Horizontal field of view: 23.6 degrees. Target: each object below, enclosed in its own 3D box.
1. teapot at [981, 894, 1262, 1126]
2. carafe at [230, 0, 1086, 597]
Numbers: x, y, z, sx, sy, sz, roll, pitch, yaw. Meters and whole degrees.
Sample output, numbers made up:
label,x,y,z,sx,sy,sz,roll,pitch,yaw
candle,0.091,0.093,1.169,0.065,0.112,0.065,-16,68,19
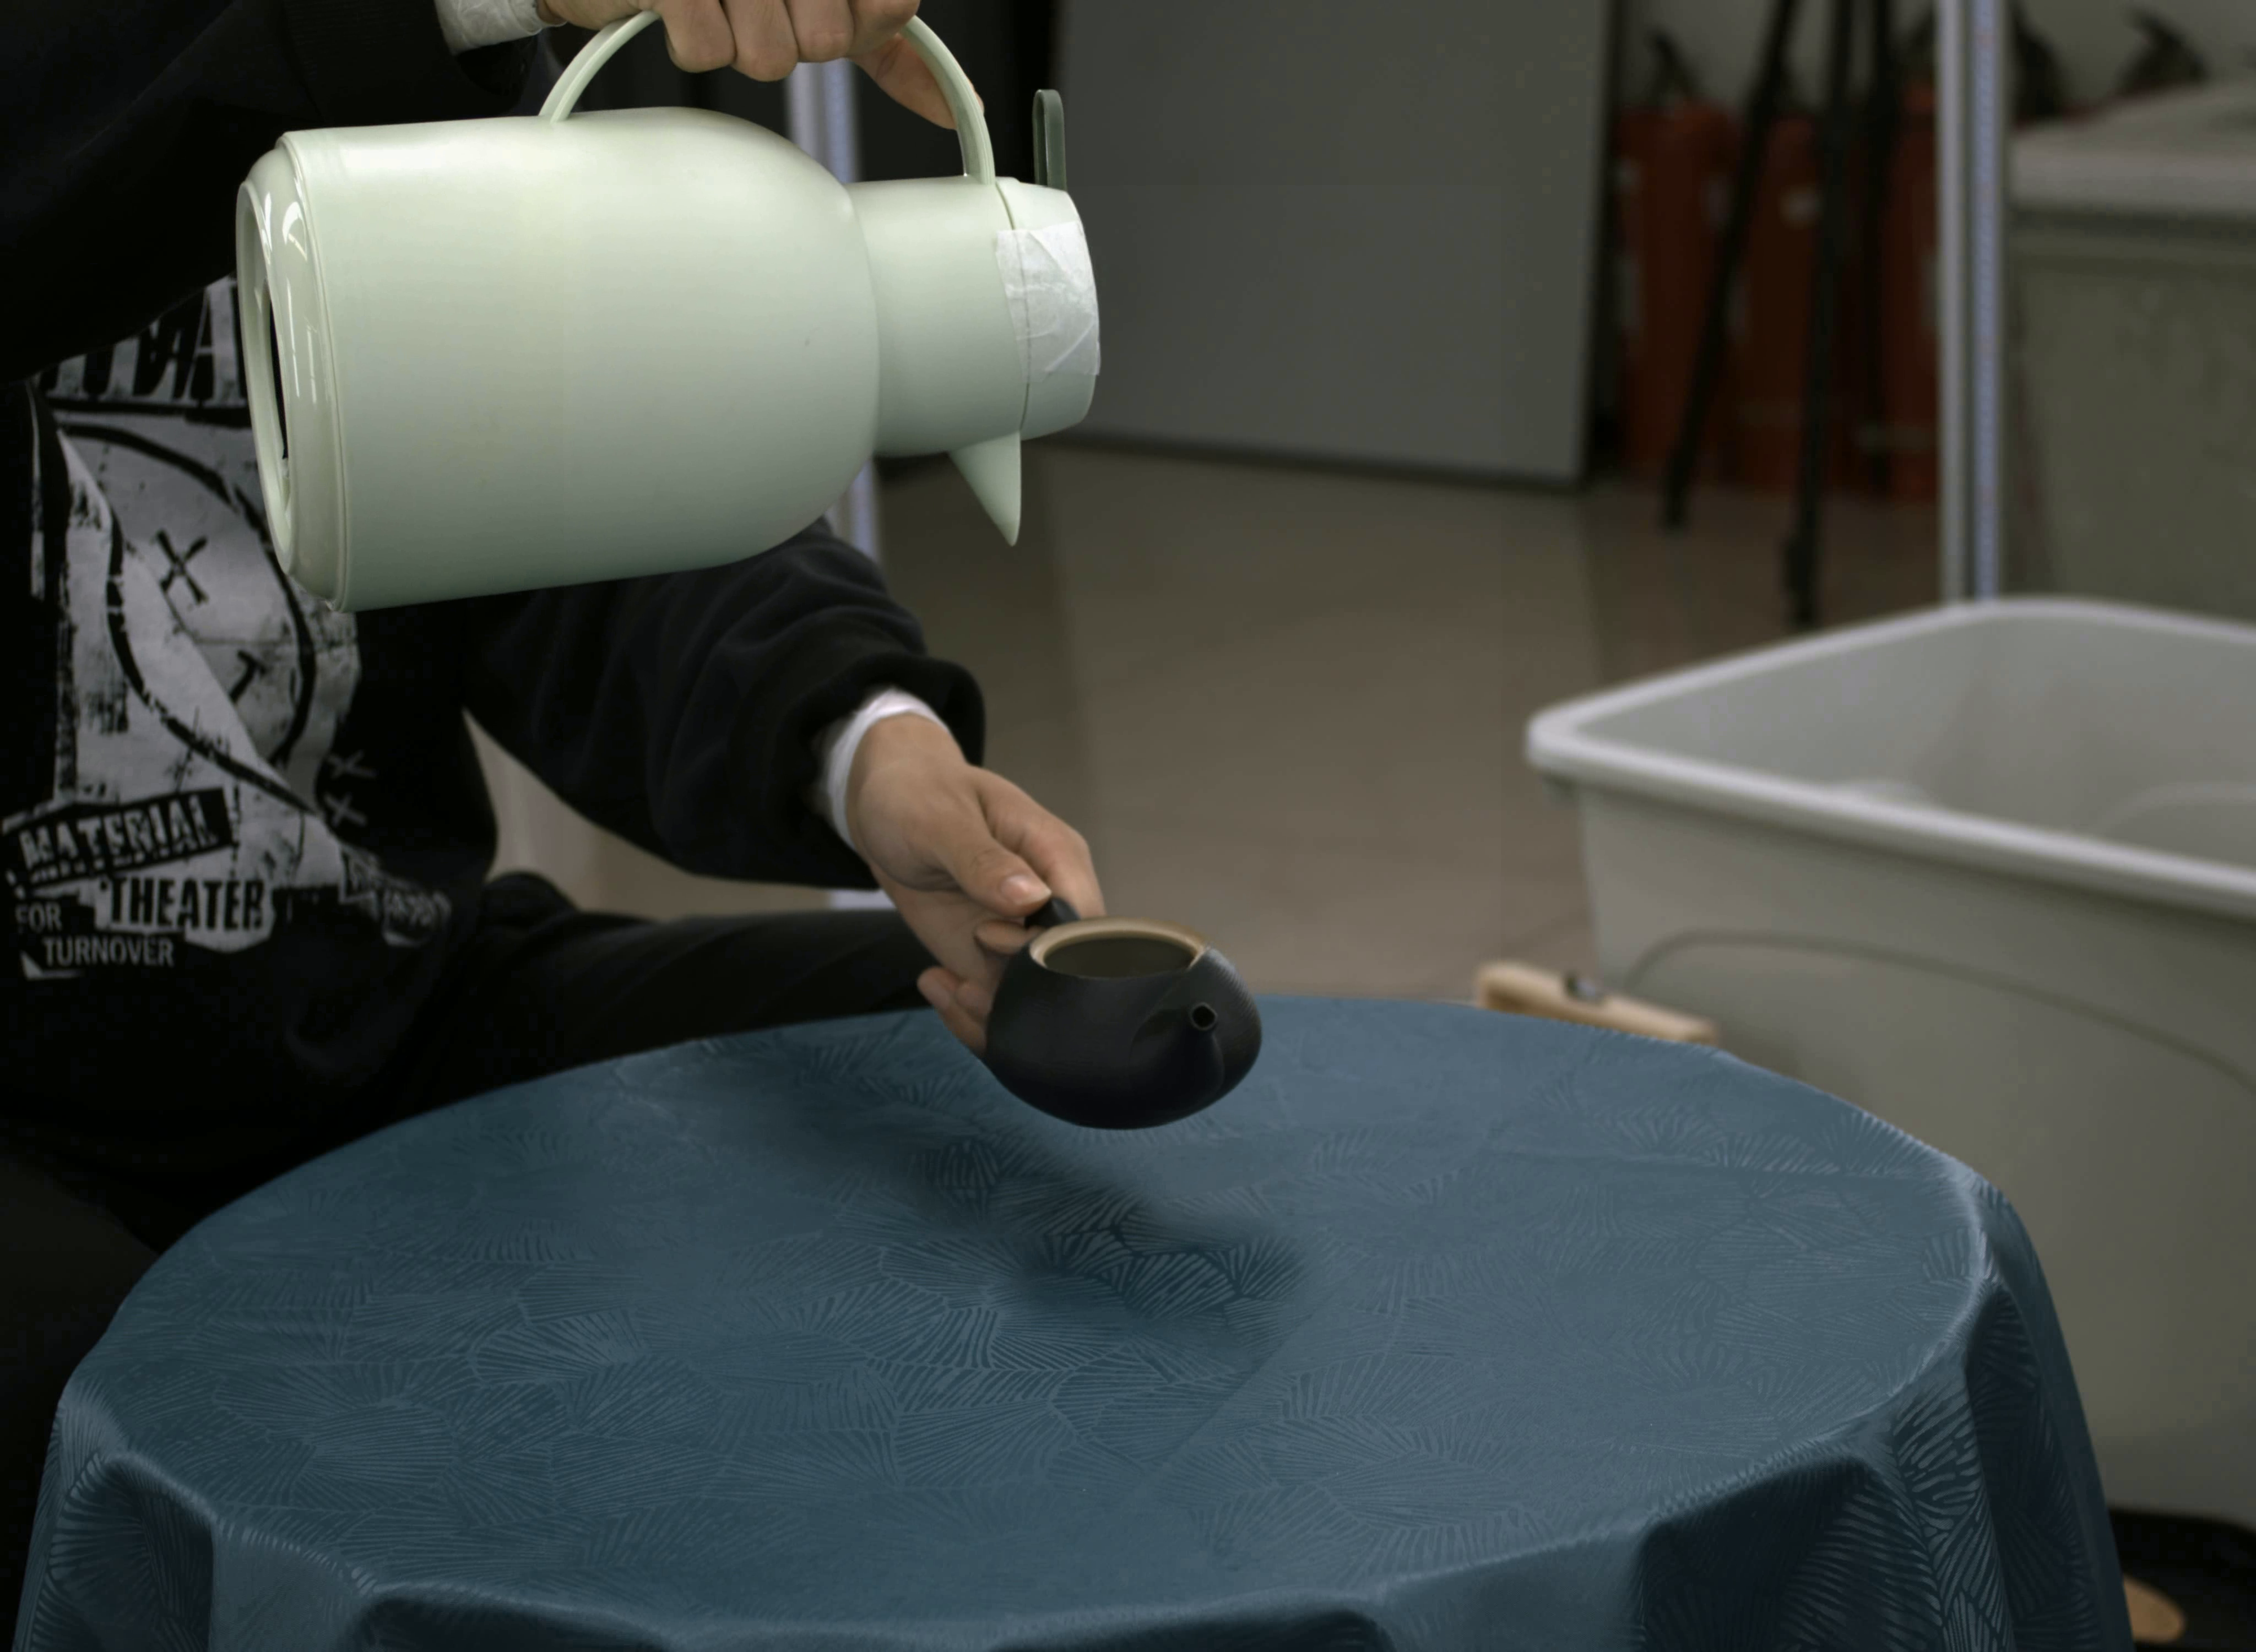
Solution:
label,x,y,z,sx,sy,sz,roll,pitch,yaw
teapot,-0.002,0.062,1.719,0.089,0.053,0.134,-8,20,-23
carafe,-0.142,-0.169,1.645,0.252,0.189,0.145,-9,10,-10
